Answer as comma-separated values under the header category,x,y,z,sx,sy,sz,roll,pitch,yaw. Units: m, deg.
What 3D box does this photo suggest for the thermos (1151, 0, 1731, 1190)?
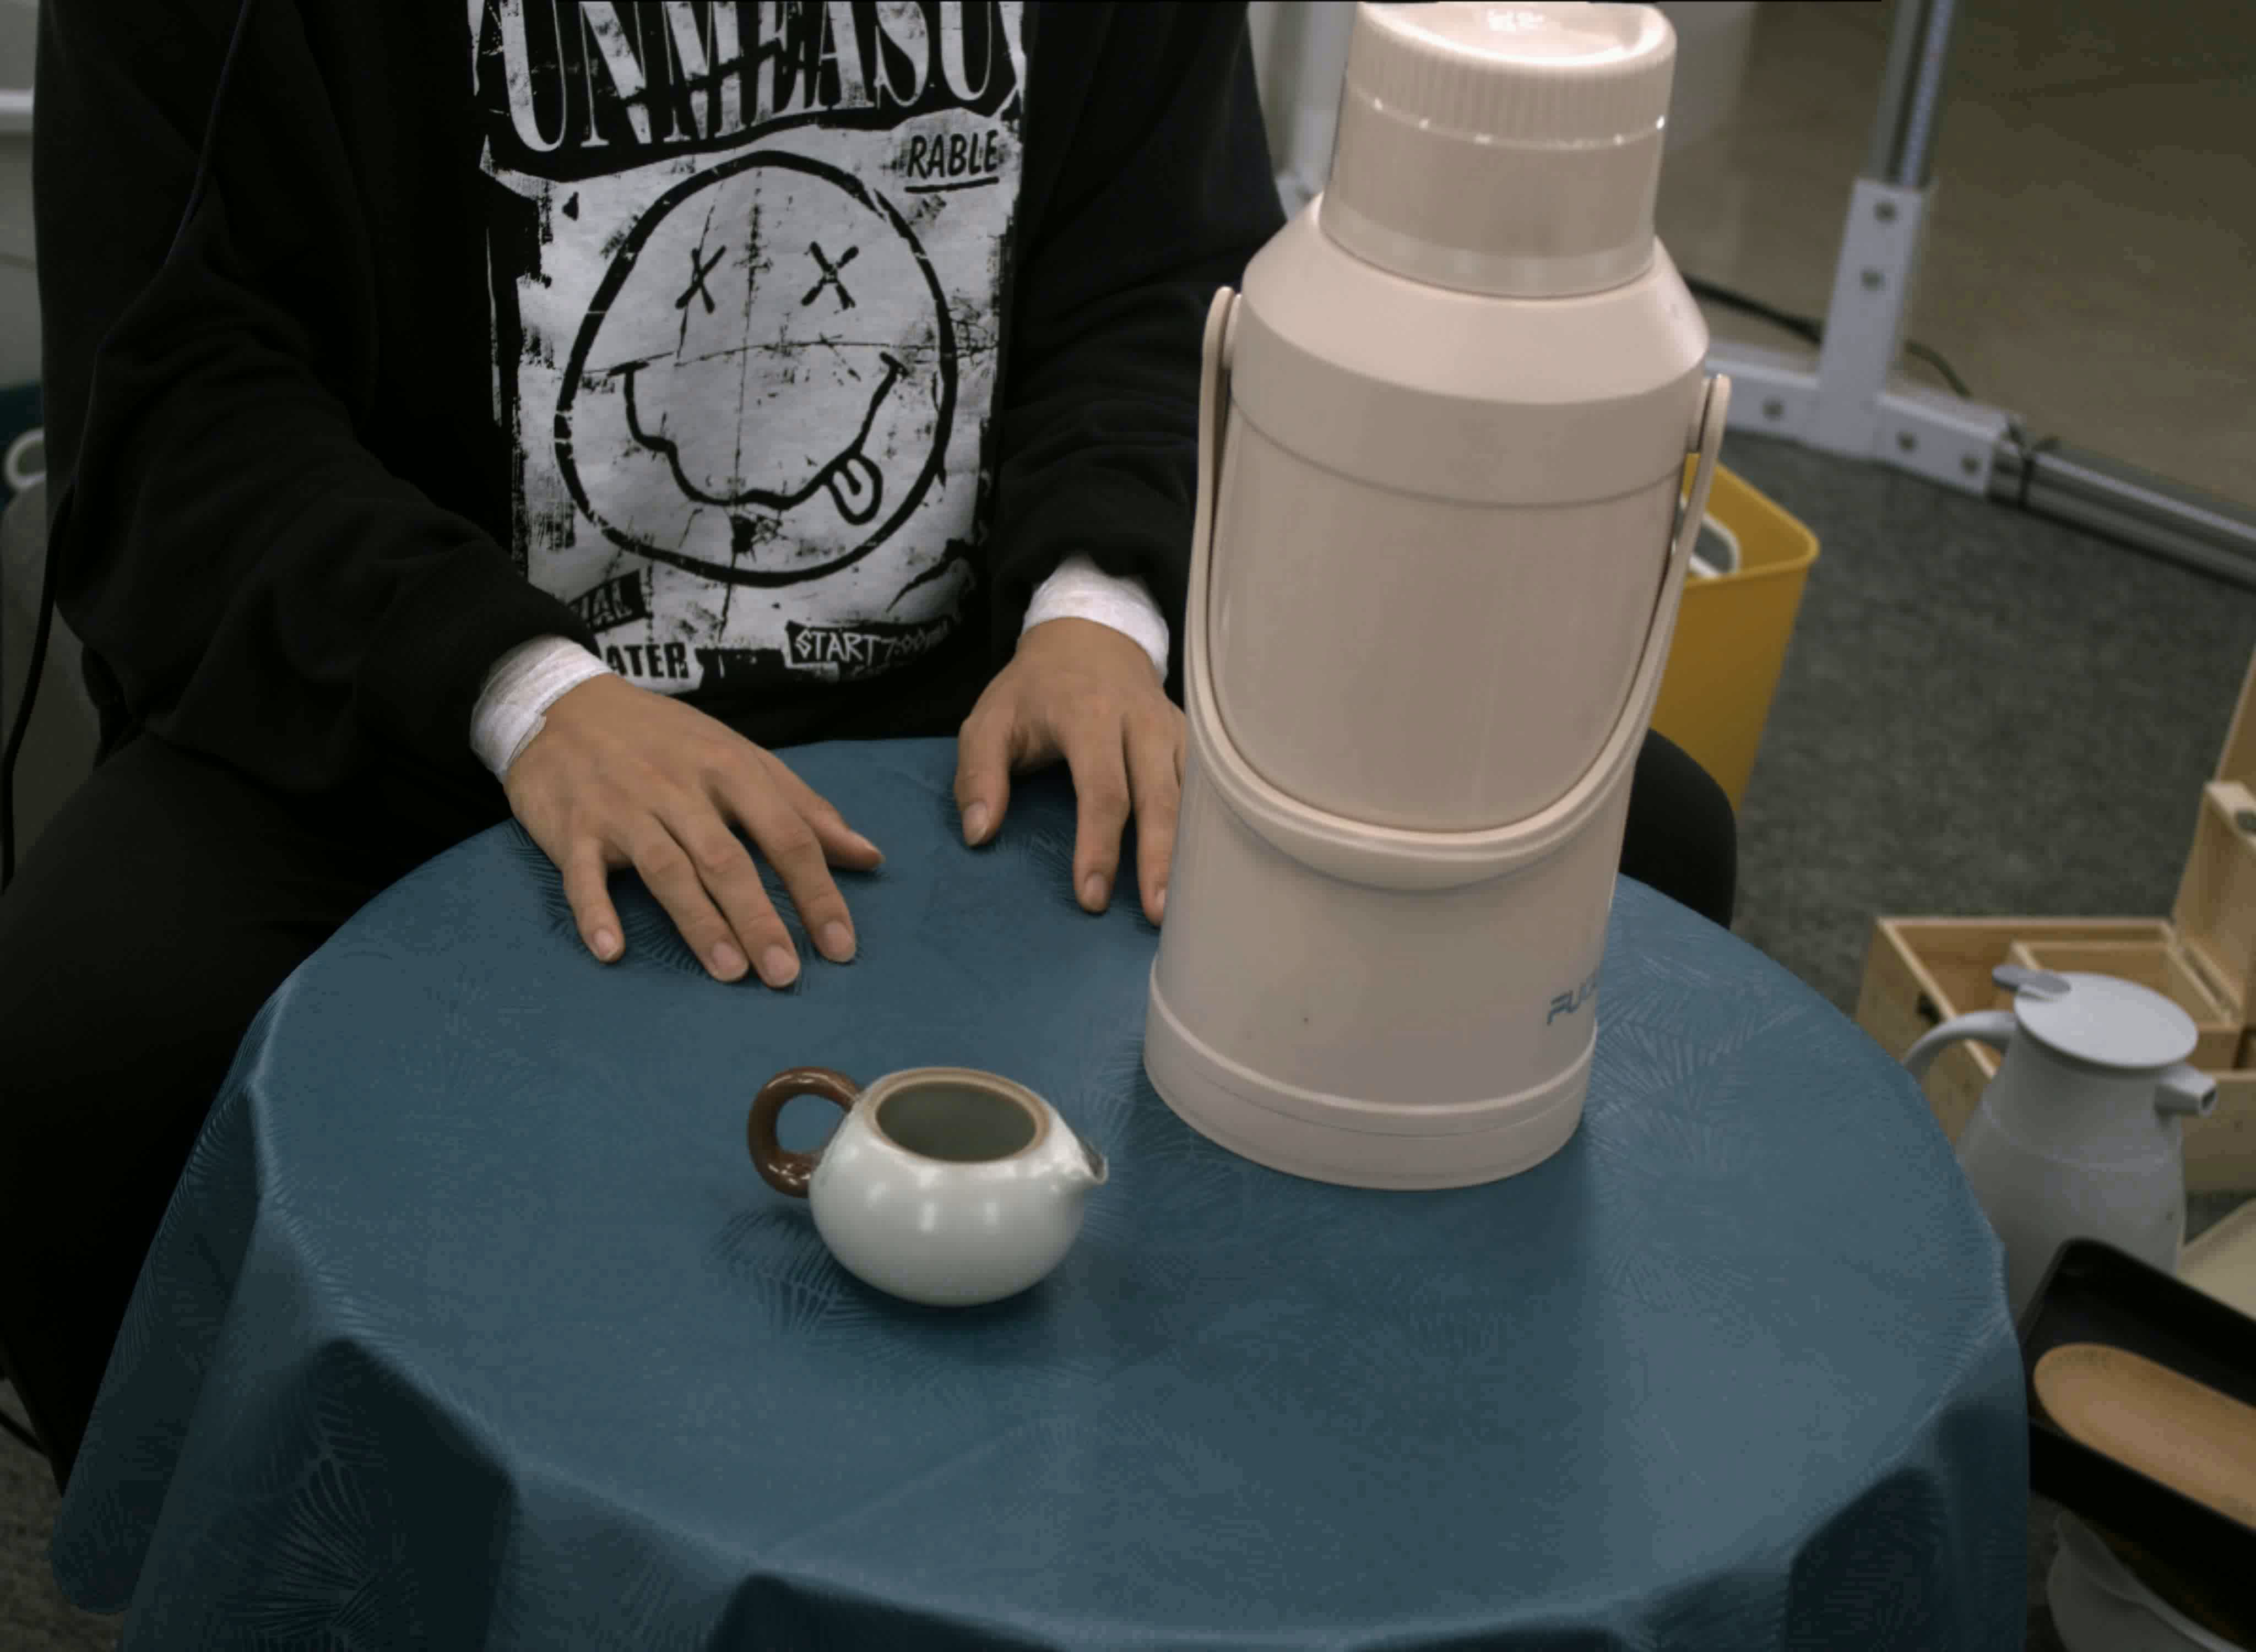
category,x,y,z,sx,sy,sz,roll,pitch,yaw
thermos,0.109,-0.092,1.818,0.175,0.405,0.208,9,27,7

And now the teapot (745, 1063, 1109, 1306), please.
category,x,y,z,sx,sy,sz,roll,pitch,yaw
teapot,-0.068,0.115,1.742,0.128,0.059,0.092,17,32,16
